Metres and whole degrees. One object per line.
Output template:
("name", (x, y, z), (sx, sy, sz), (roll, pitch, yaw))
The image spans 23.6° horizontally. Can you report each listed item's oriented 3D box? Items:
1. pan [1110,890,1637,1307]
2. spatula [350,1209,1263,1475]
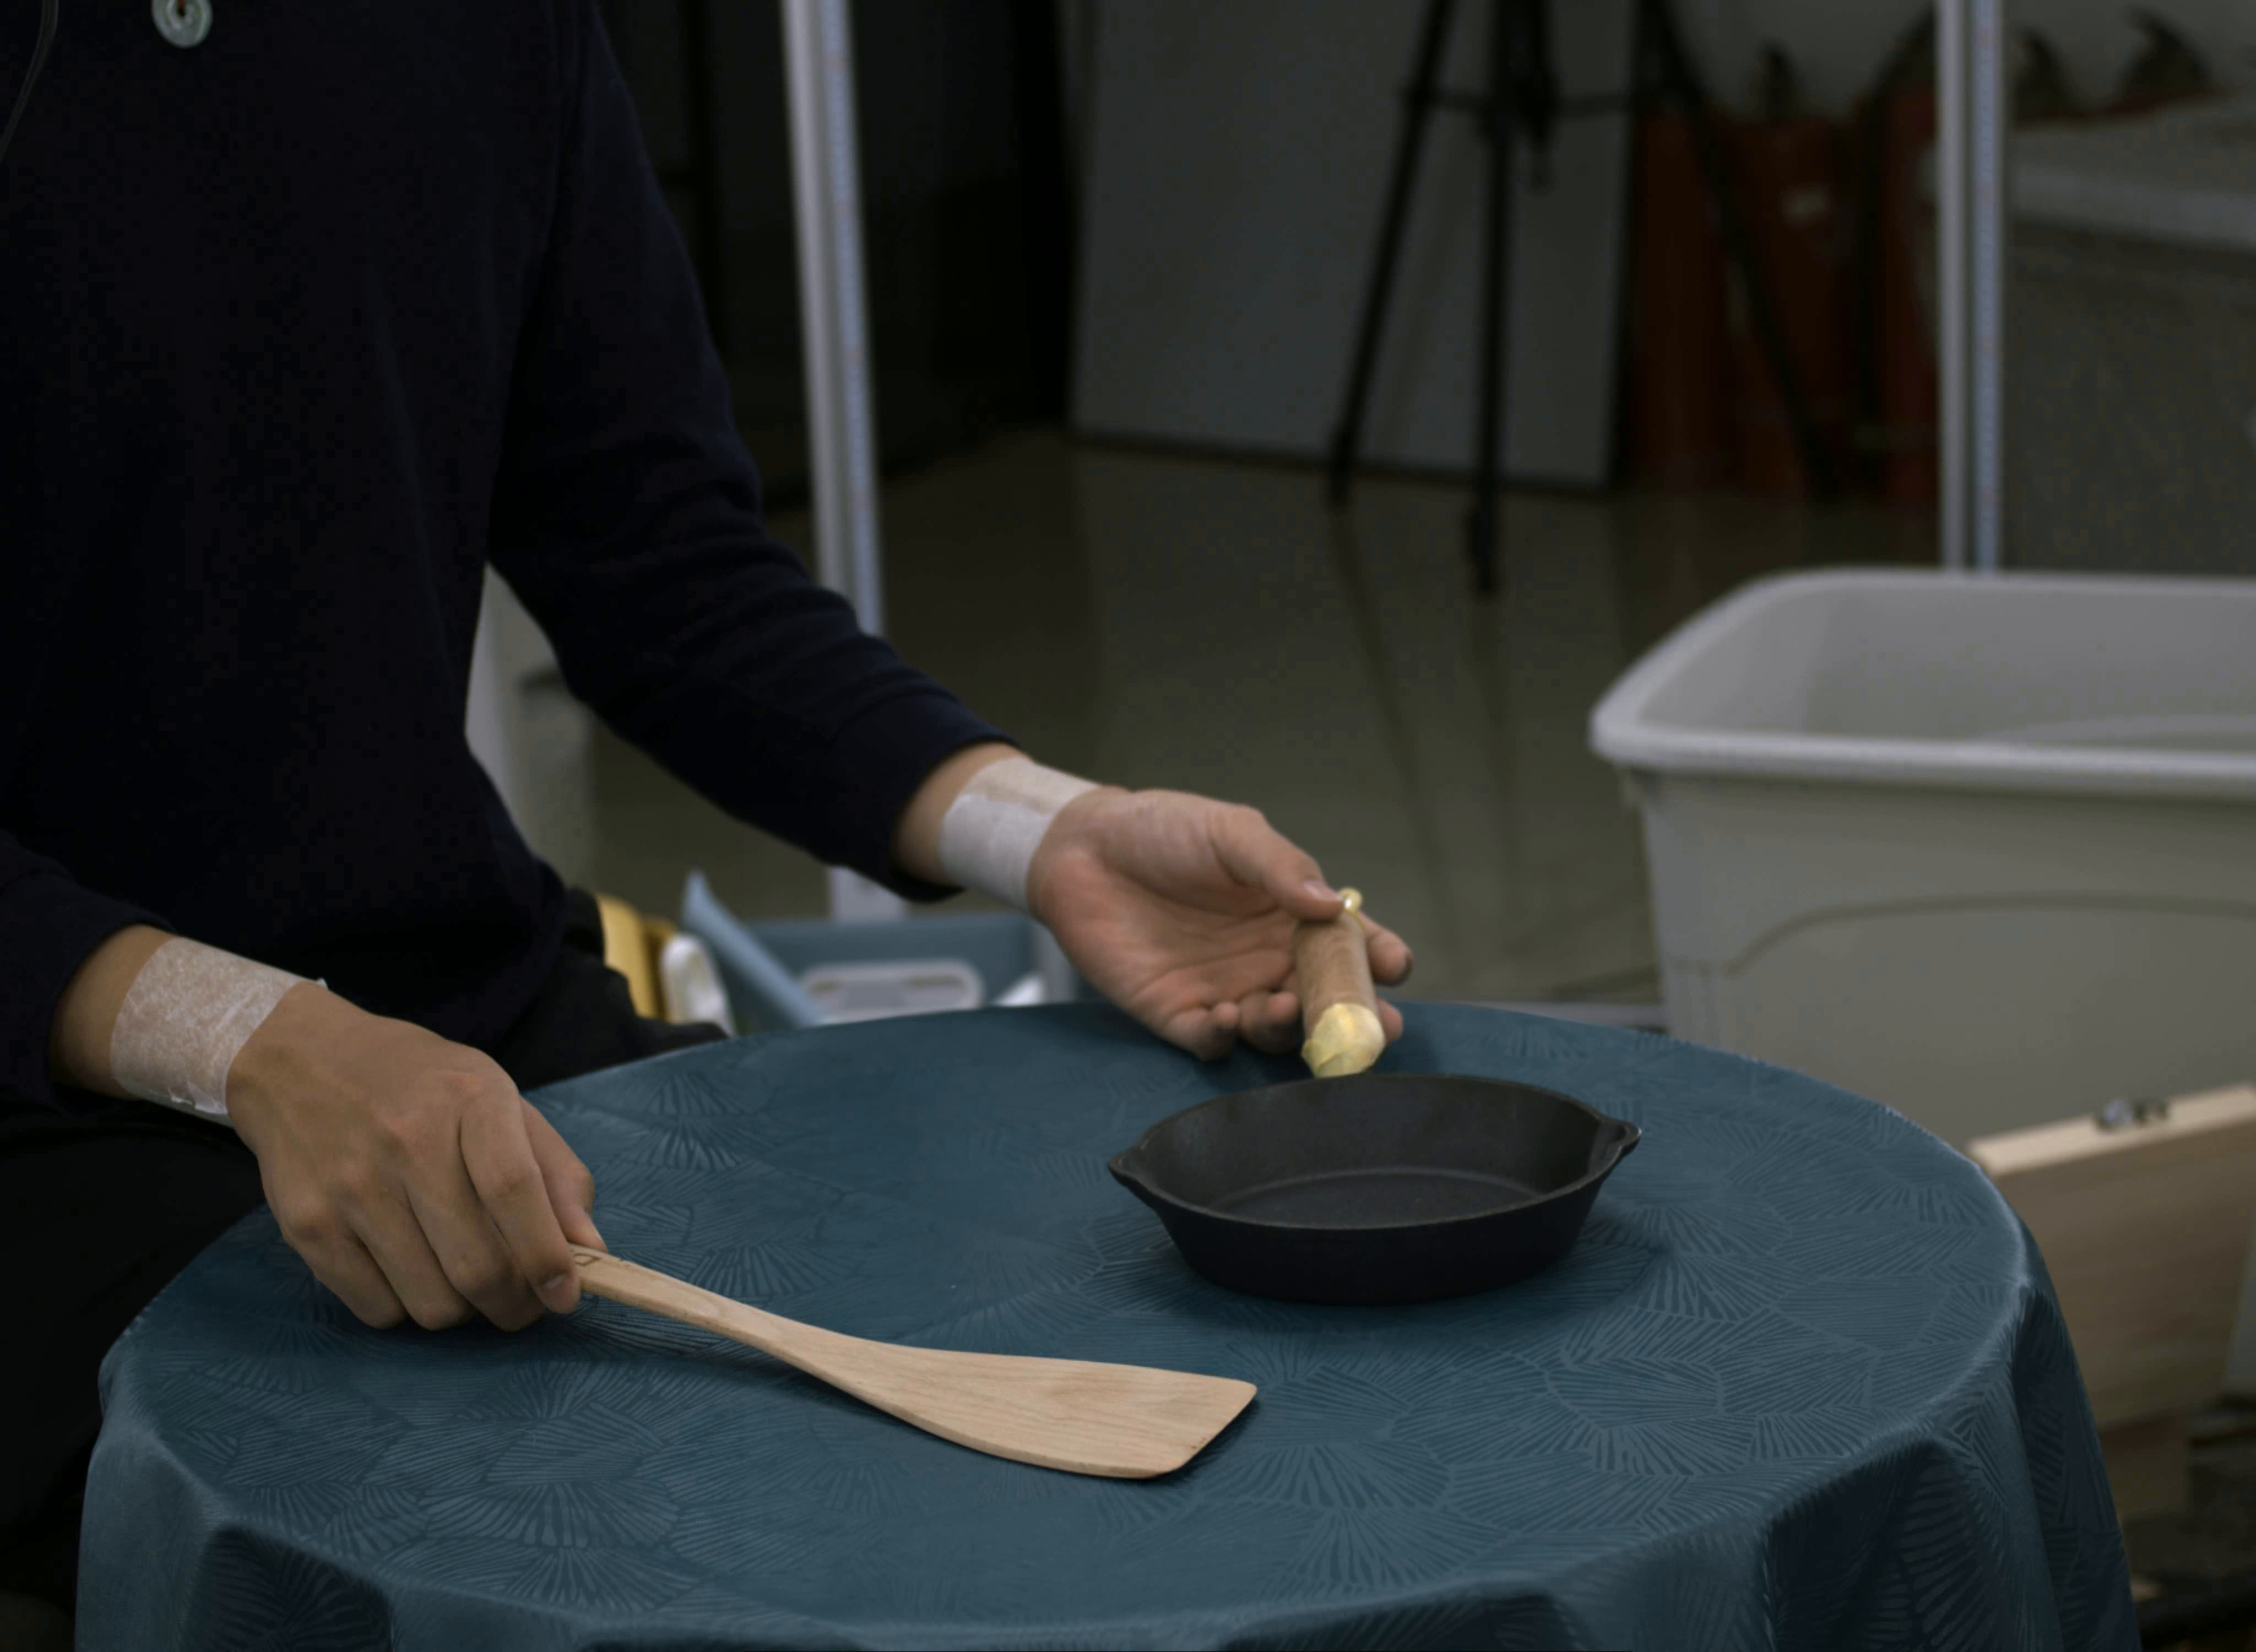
("pan", (0.078, 0.087, 1.780), (0.167, 0.050, 0.324), (-4, 15, 1))
("spatula", (-0.104, 0.150, 1.622), (0.329, 0.017, 0.078), (12, 19, 32))
